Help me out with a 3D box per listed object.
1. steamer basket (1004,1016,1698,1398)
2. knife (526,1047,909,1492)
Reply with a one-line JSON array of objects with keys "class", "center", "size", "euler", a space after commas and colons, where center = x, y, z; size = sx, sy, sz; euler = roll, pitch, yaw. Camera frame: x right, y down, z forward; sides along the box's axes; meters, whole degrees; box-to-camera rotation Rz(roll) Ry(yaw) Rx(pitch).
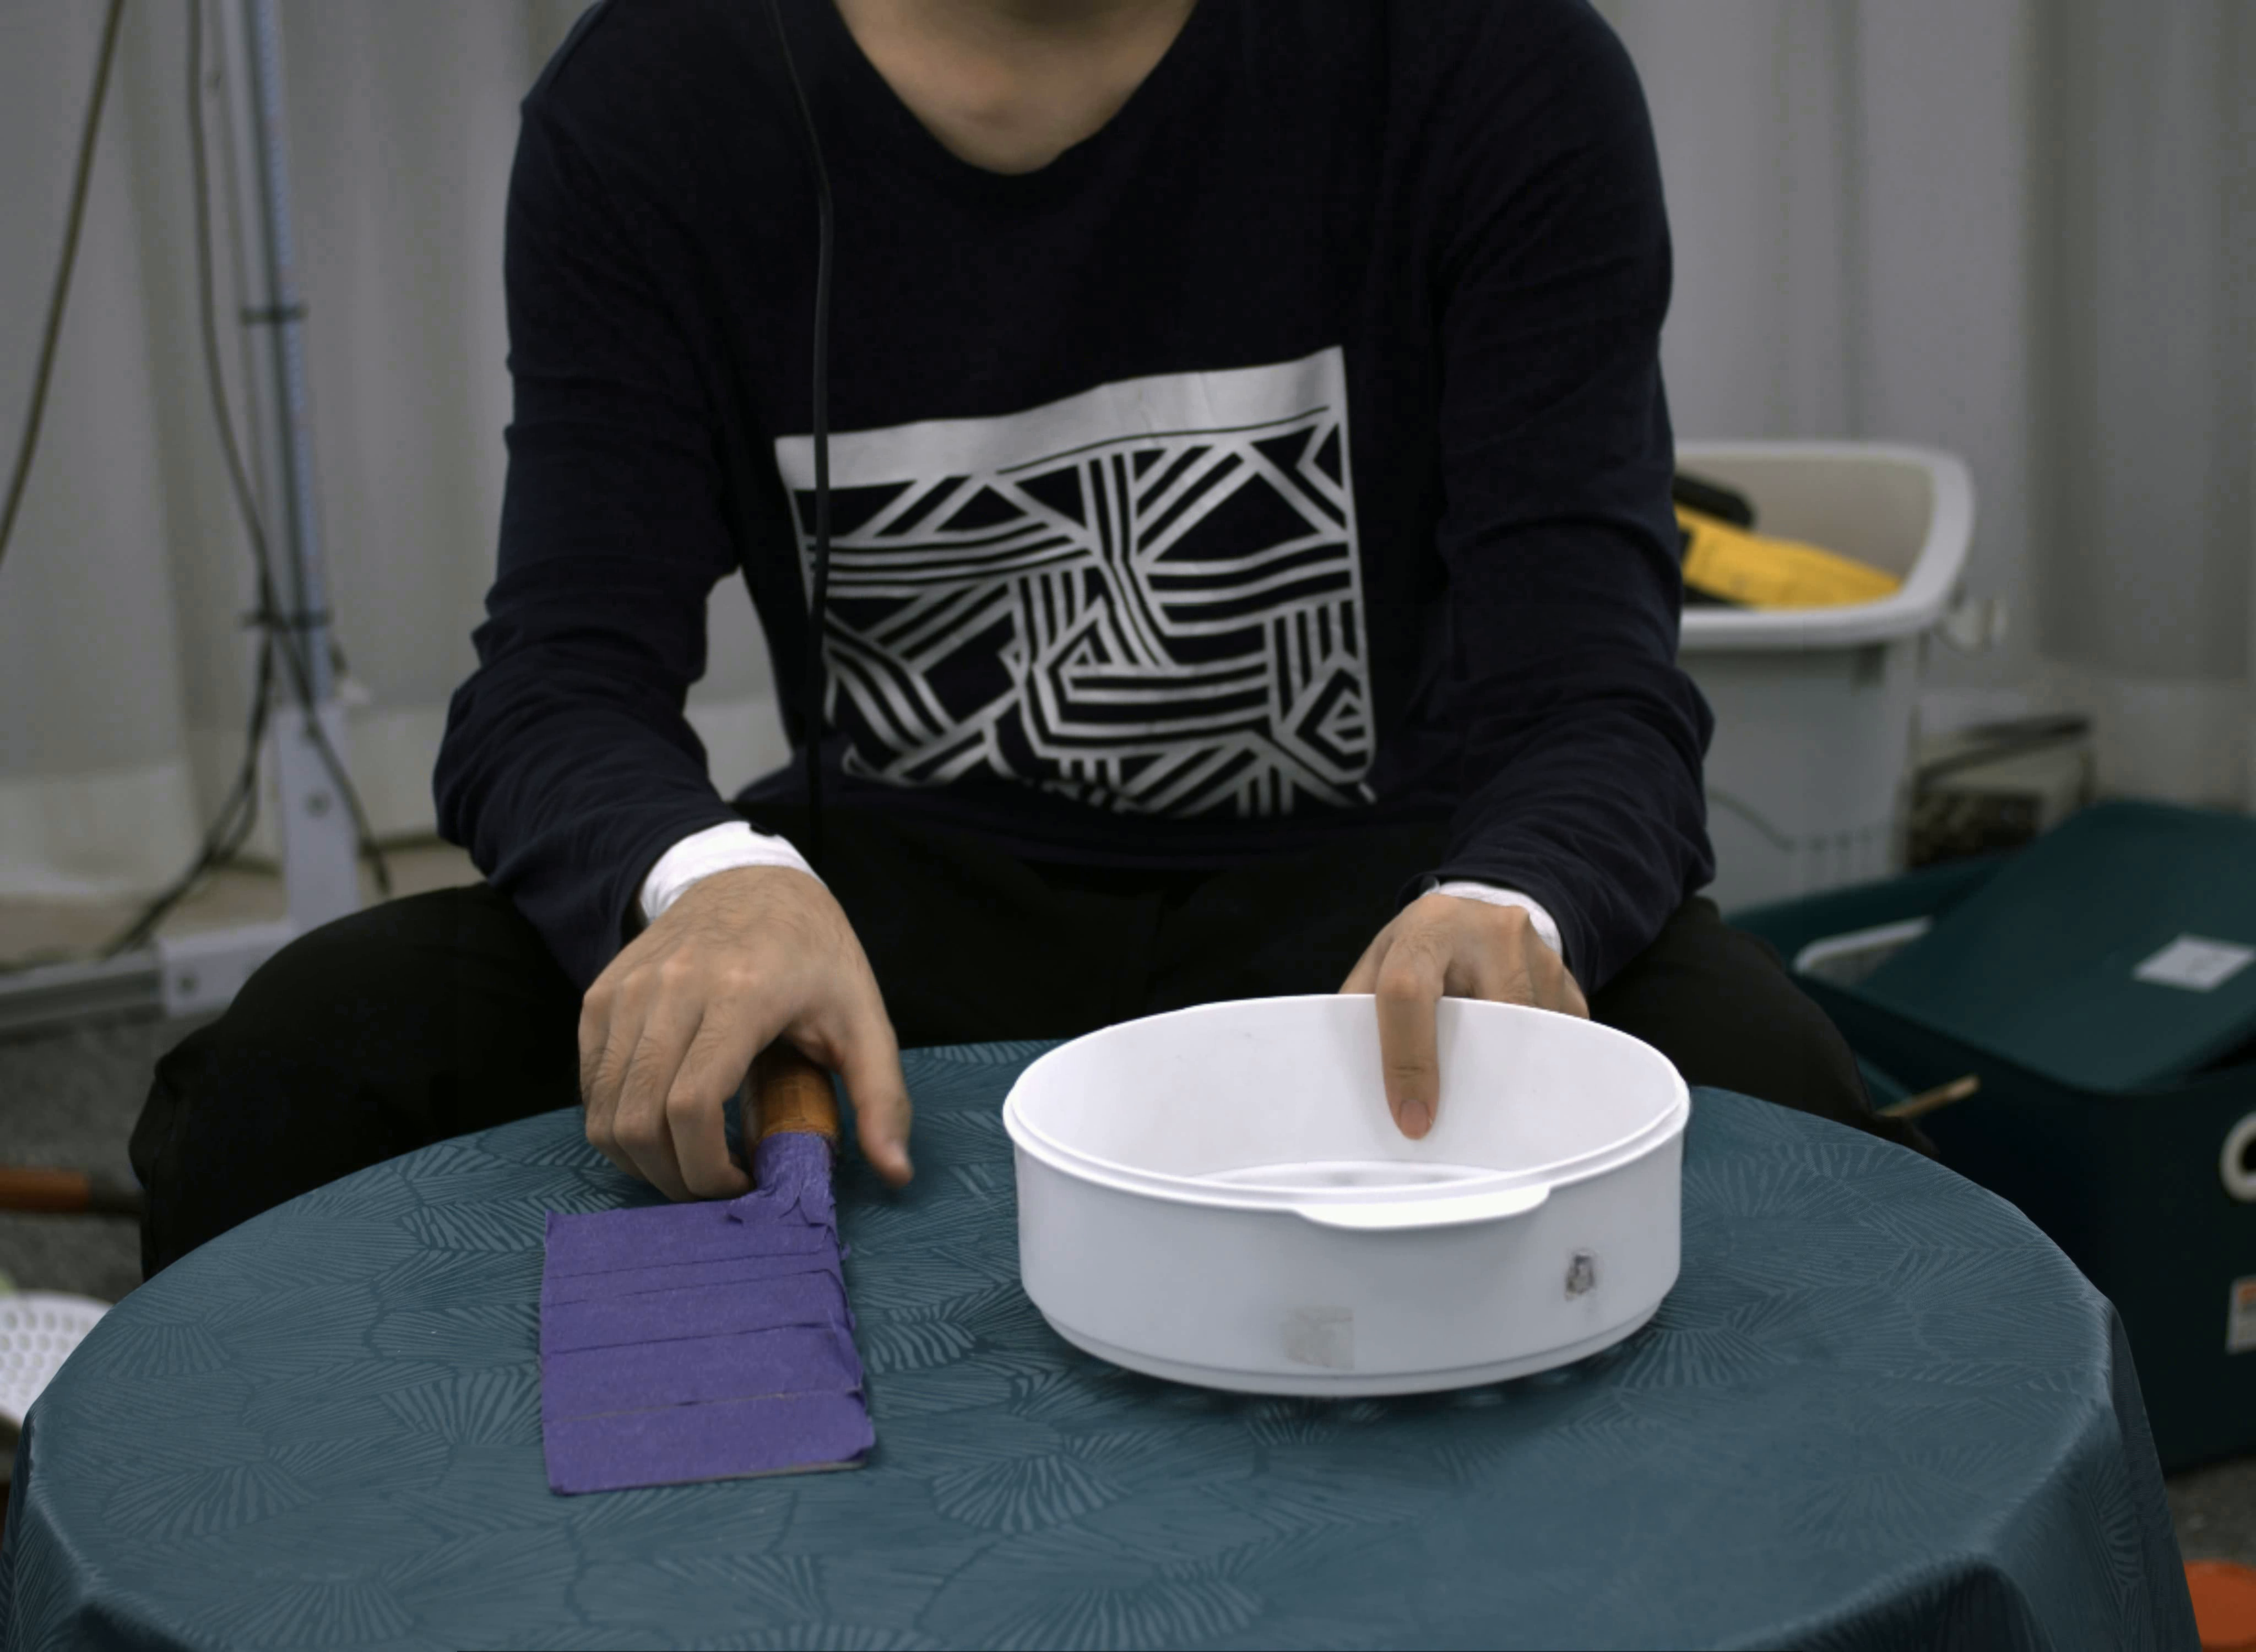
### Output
[{"class": "steamer basket", "center": [0.065, 0.110, 1.590], "size": [0.201, 0.069, 0.232], "euler": [-4, 12, -10]}, {"class": "knife", "center": [-0.128, 0.129, 1.637], "size": [0.103, 0.032, 0.317], "euler": [-4, 15, -6]}]
